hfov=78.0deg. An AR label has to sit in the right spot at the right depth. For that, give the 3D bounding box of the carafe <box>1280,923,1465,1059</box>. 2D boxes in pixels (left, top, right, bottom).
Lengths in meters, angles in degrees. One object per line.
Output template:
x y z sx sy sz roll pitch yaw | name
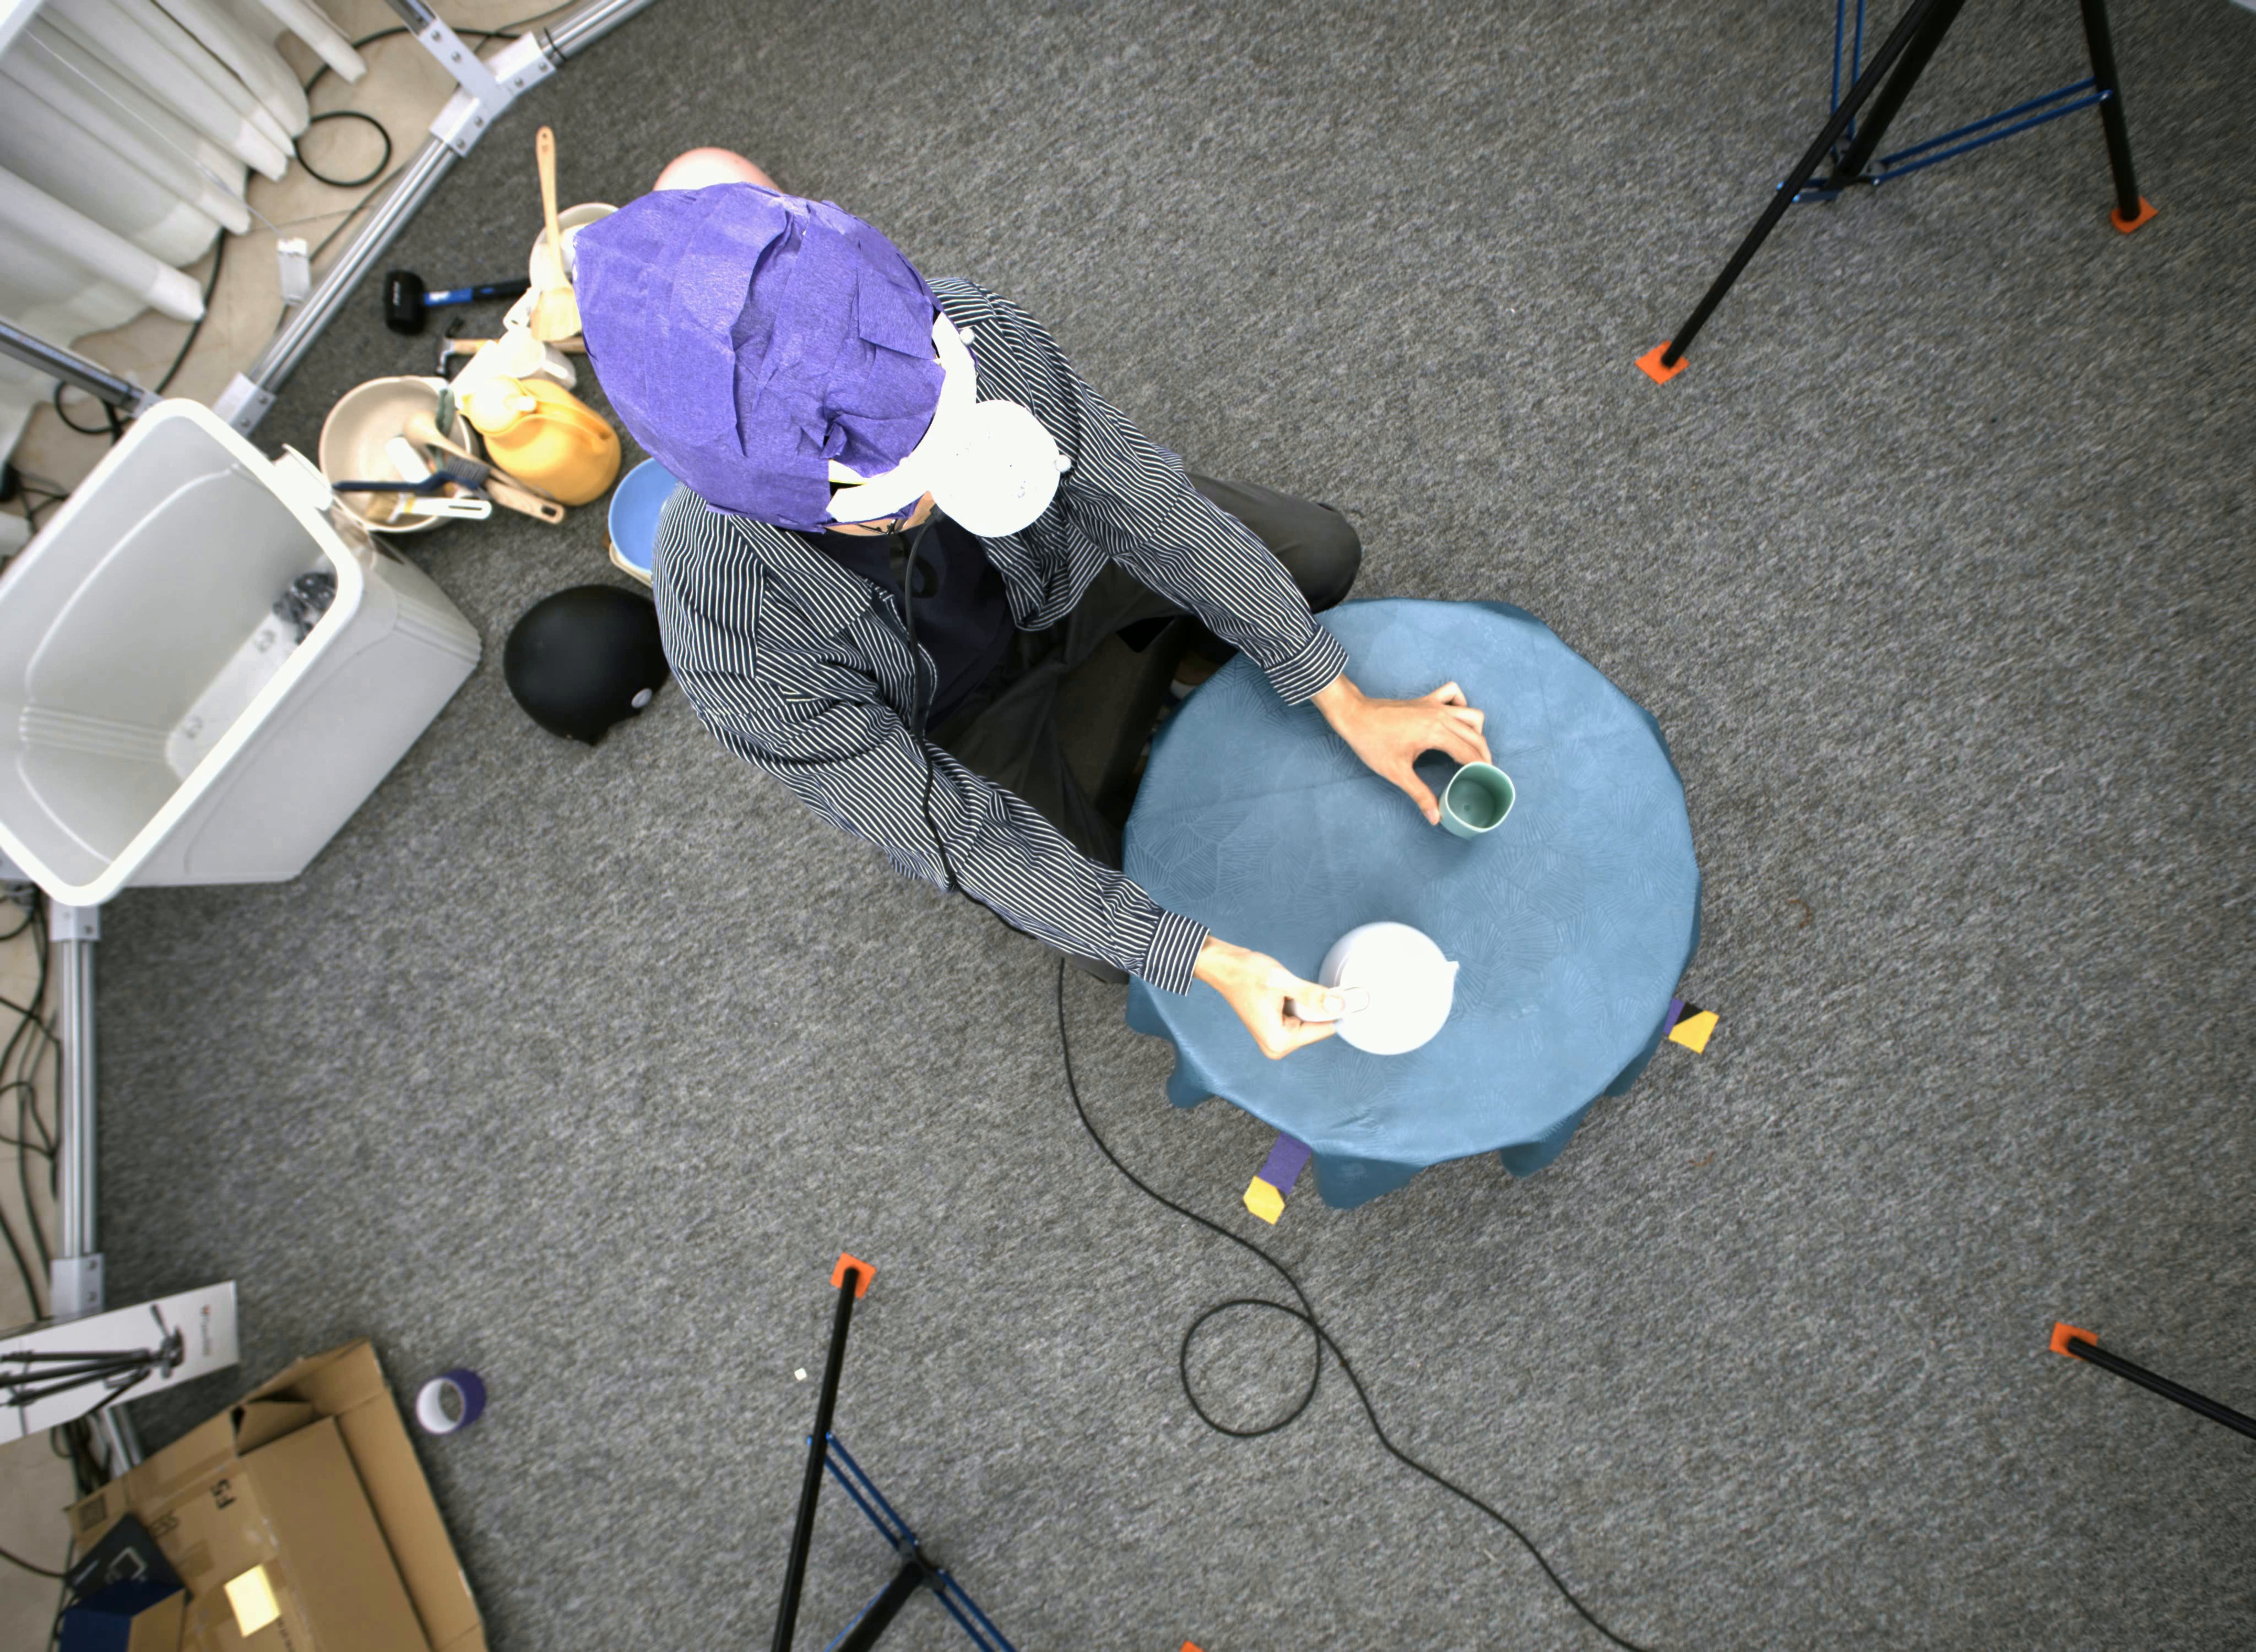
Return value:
0.227 0.162 1.306 0.168 0.248 0.132 -18 84 7 | carafe

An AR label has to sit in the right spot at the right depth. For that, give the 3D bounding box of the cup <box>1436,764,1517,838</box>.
0.345 -0.026 1.373 0.067 0.132 0.066 0 87 8 | cup
